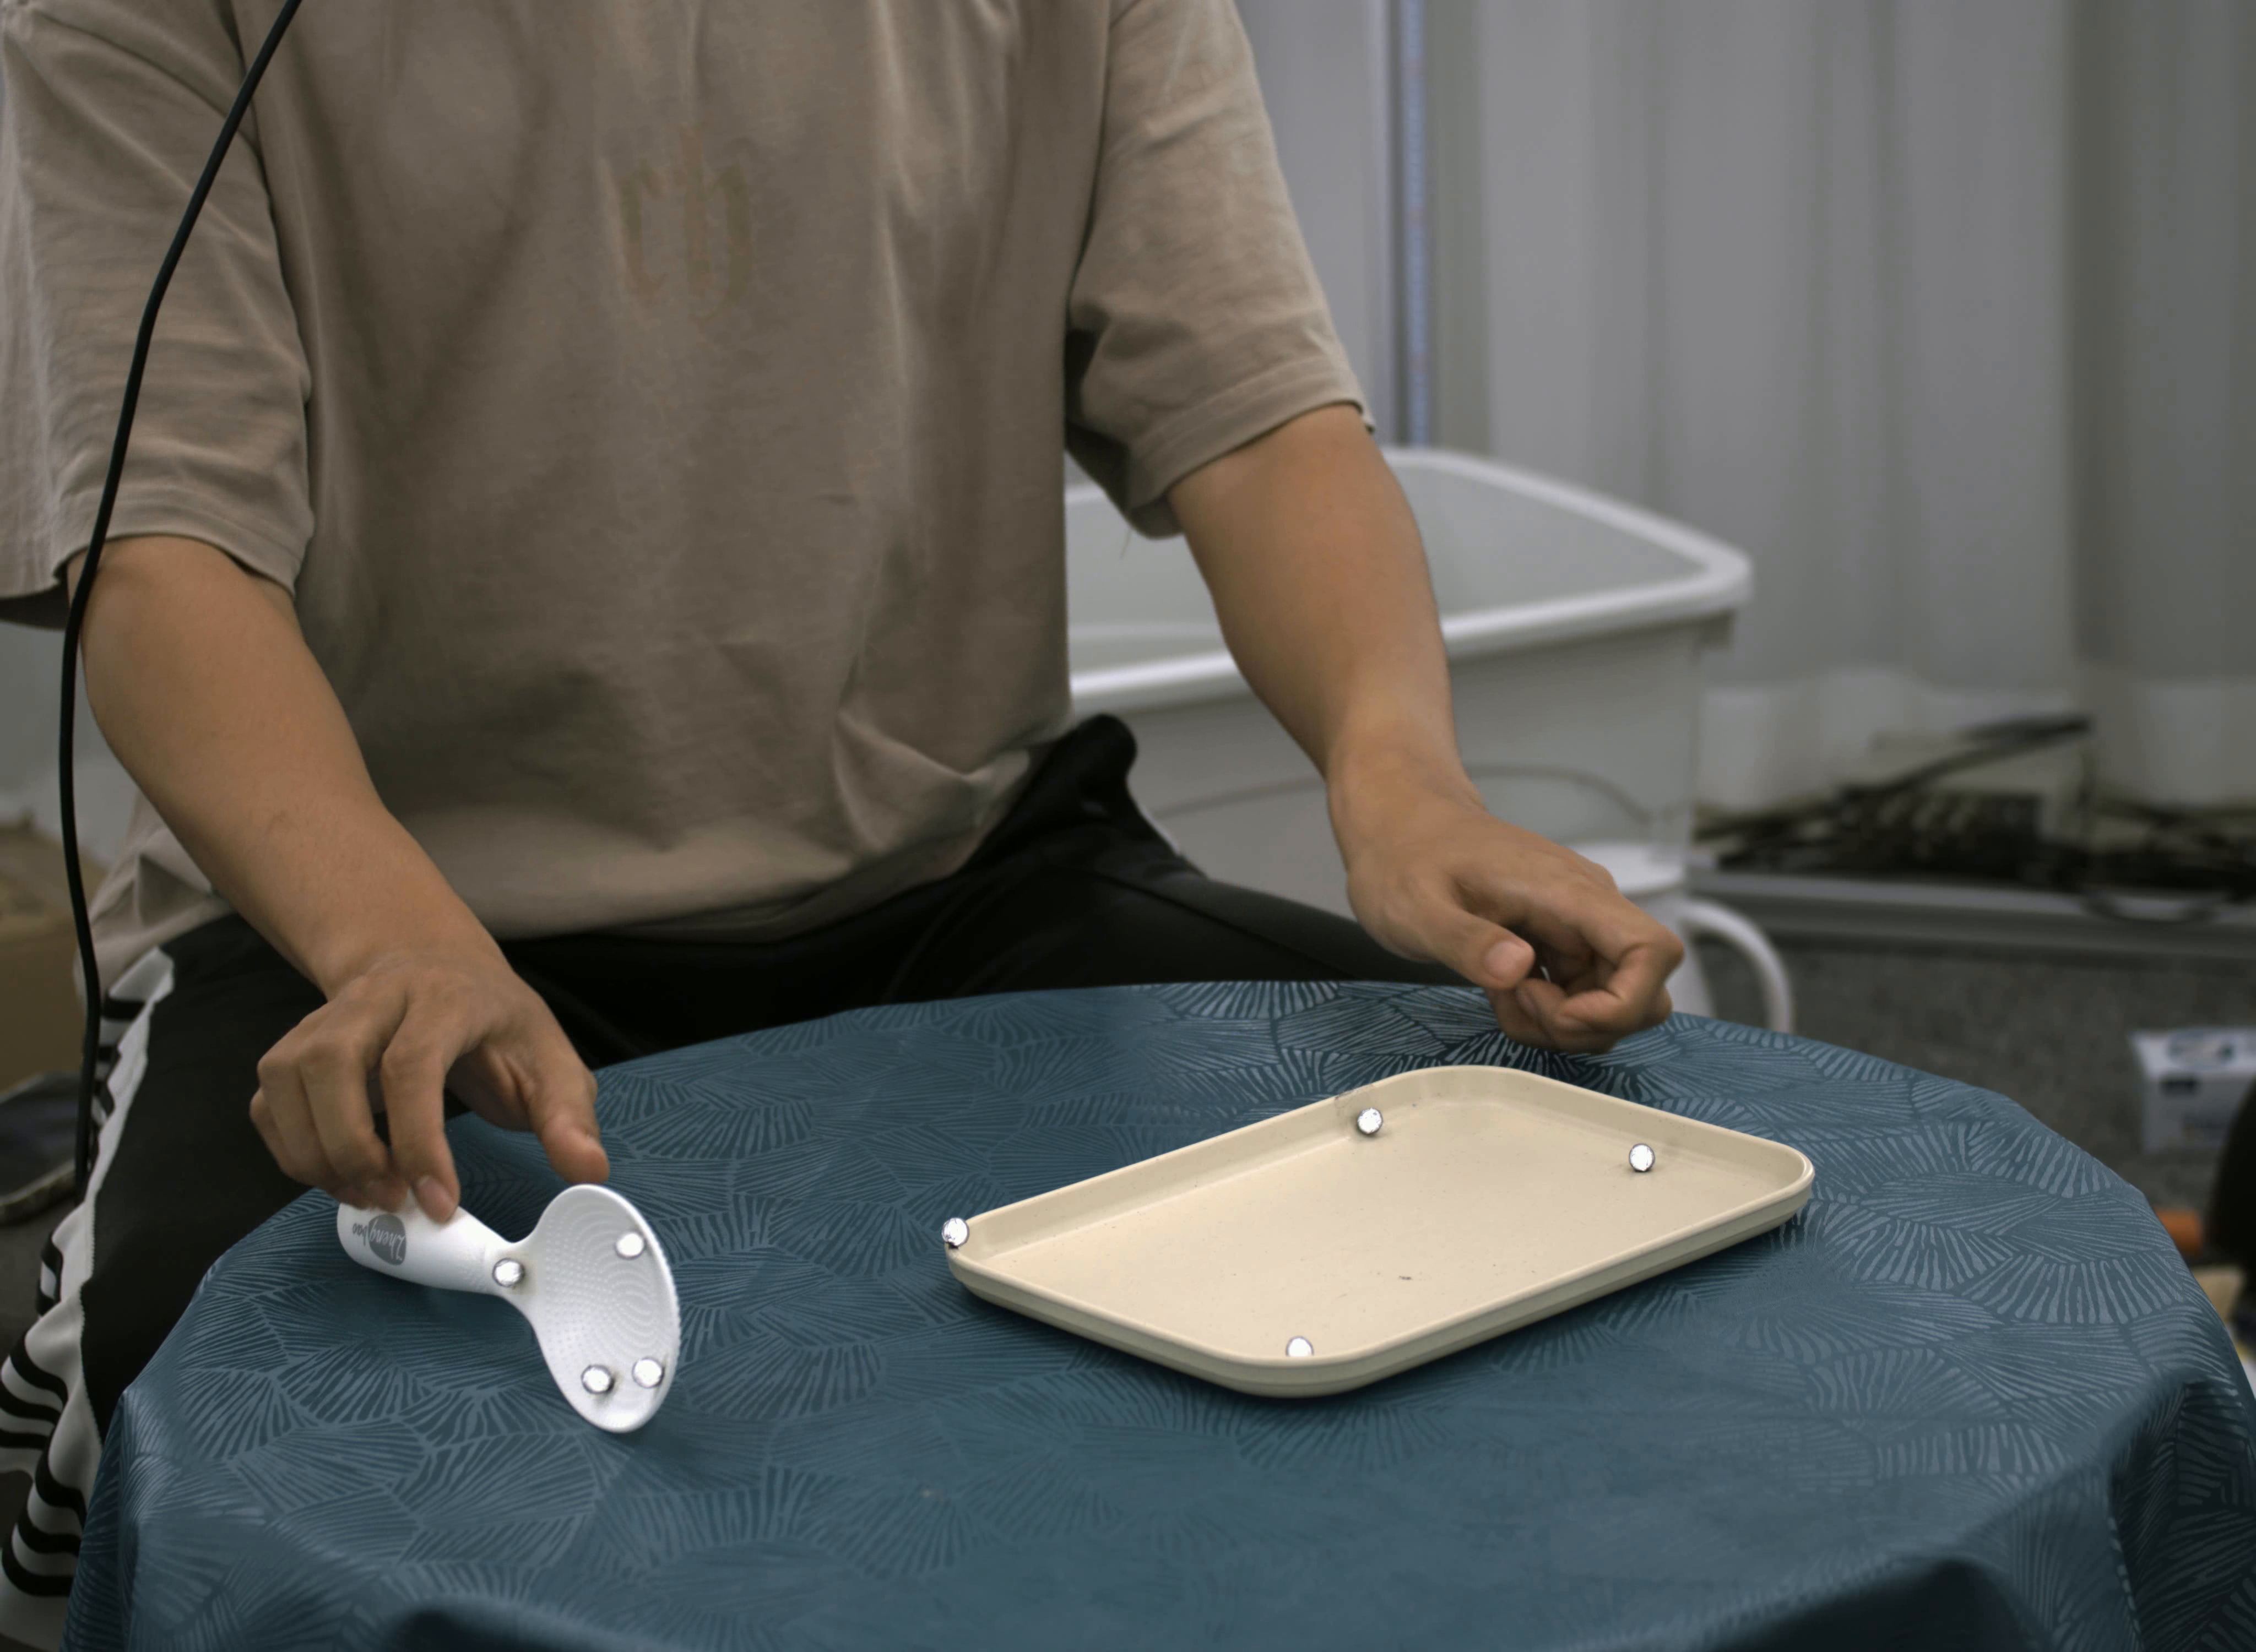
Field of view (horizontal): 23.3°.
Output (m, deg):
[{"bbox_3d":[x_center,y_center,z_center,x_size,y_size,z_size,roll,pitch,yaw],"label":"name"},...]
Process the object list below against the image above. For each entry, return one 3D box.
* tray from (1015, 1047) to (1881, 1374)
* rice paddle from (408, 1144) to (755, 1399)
[{"bbox_3d":[0.098,0.114,1.646,0.239,0.017,0.172,-15,20,-39],"label":"tray"},{"bbox_3d":[-0.156,0.121,1.585,0.029,0.069,0.206,-2,6,-30],"label":"rice paddle"}]
